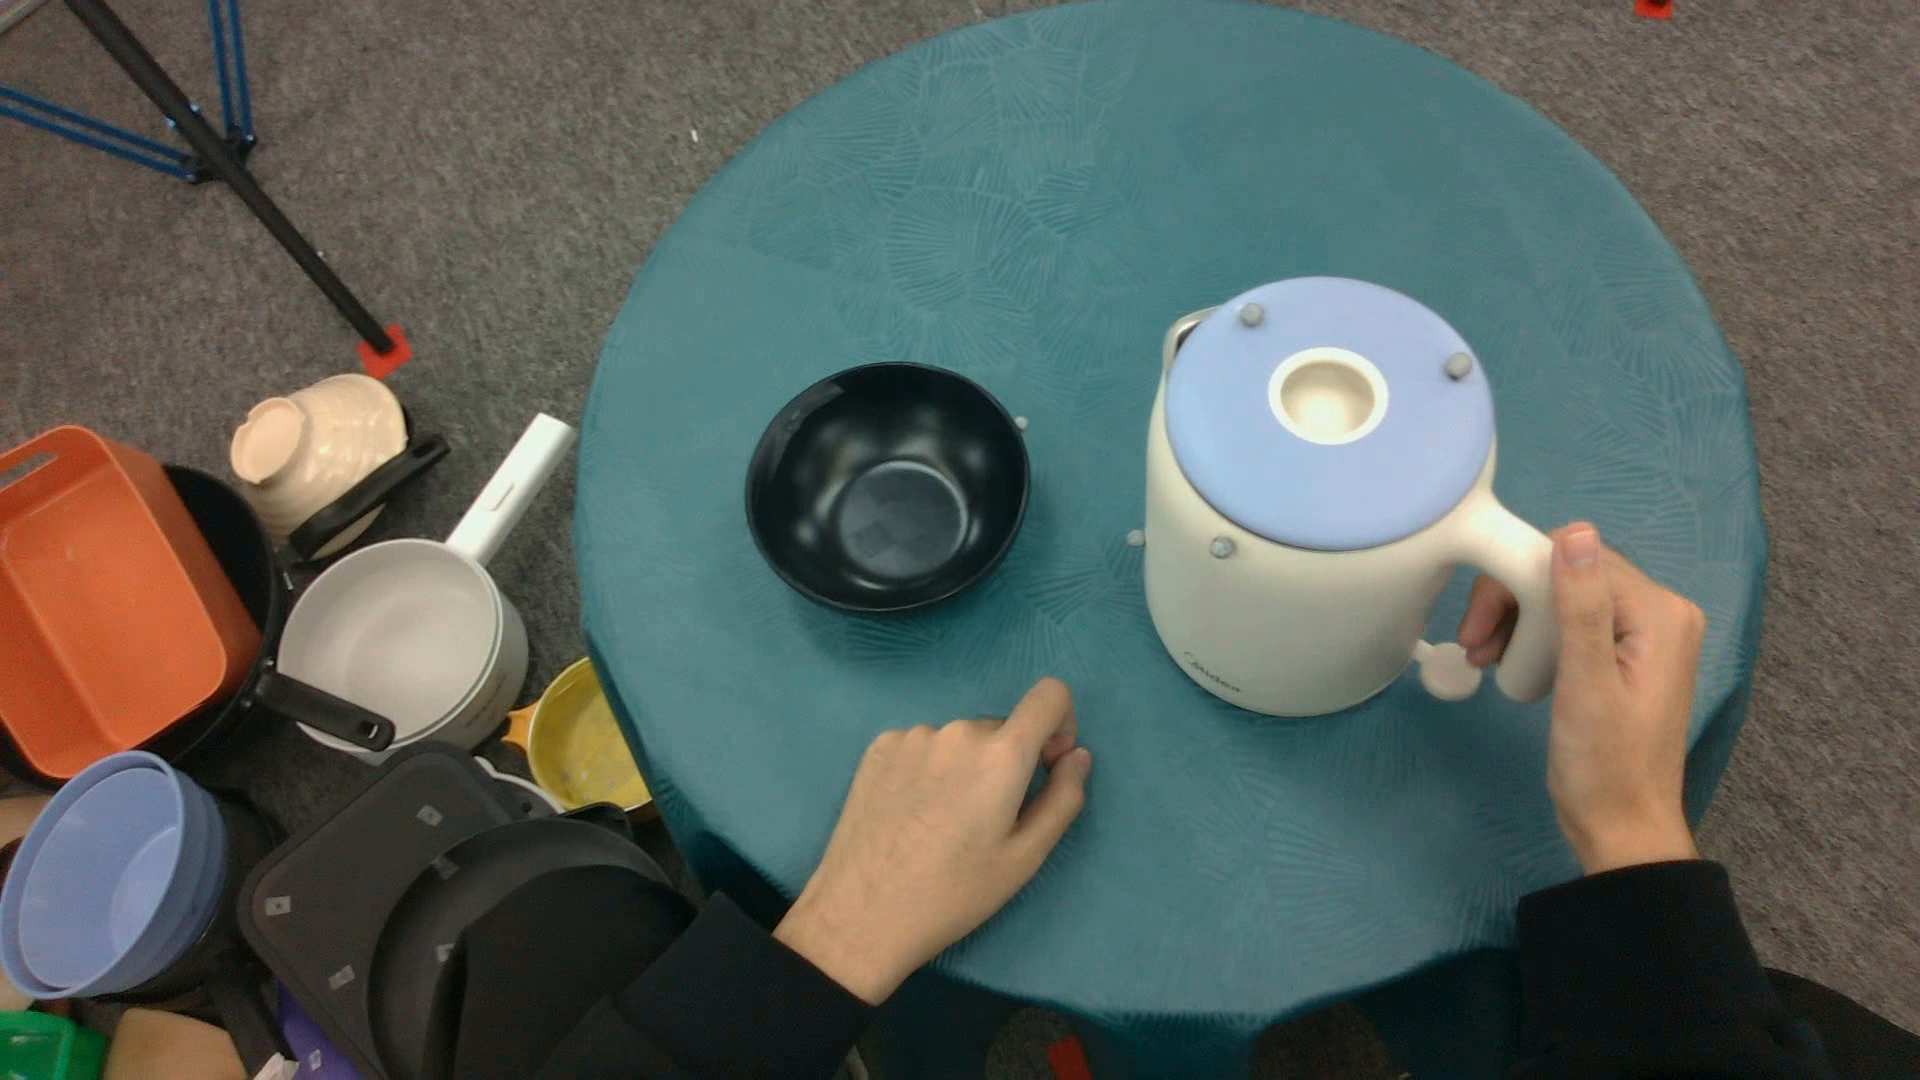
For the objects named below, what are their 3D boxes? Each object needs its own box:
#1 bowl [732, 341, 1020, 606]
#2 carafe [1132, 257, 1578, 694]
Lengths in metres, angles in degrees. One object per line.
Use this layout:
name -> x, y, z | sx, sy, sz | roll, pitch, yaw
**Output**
bowl -> -0.039, -0.026, 0.675 | 0.140, 0.049, 0.140 | -2, 65, 4
carafe -> 0.161, -0.008, 0.579 | 0.191, 0.182, 0.132 | 33, 72, 17
